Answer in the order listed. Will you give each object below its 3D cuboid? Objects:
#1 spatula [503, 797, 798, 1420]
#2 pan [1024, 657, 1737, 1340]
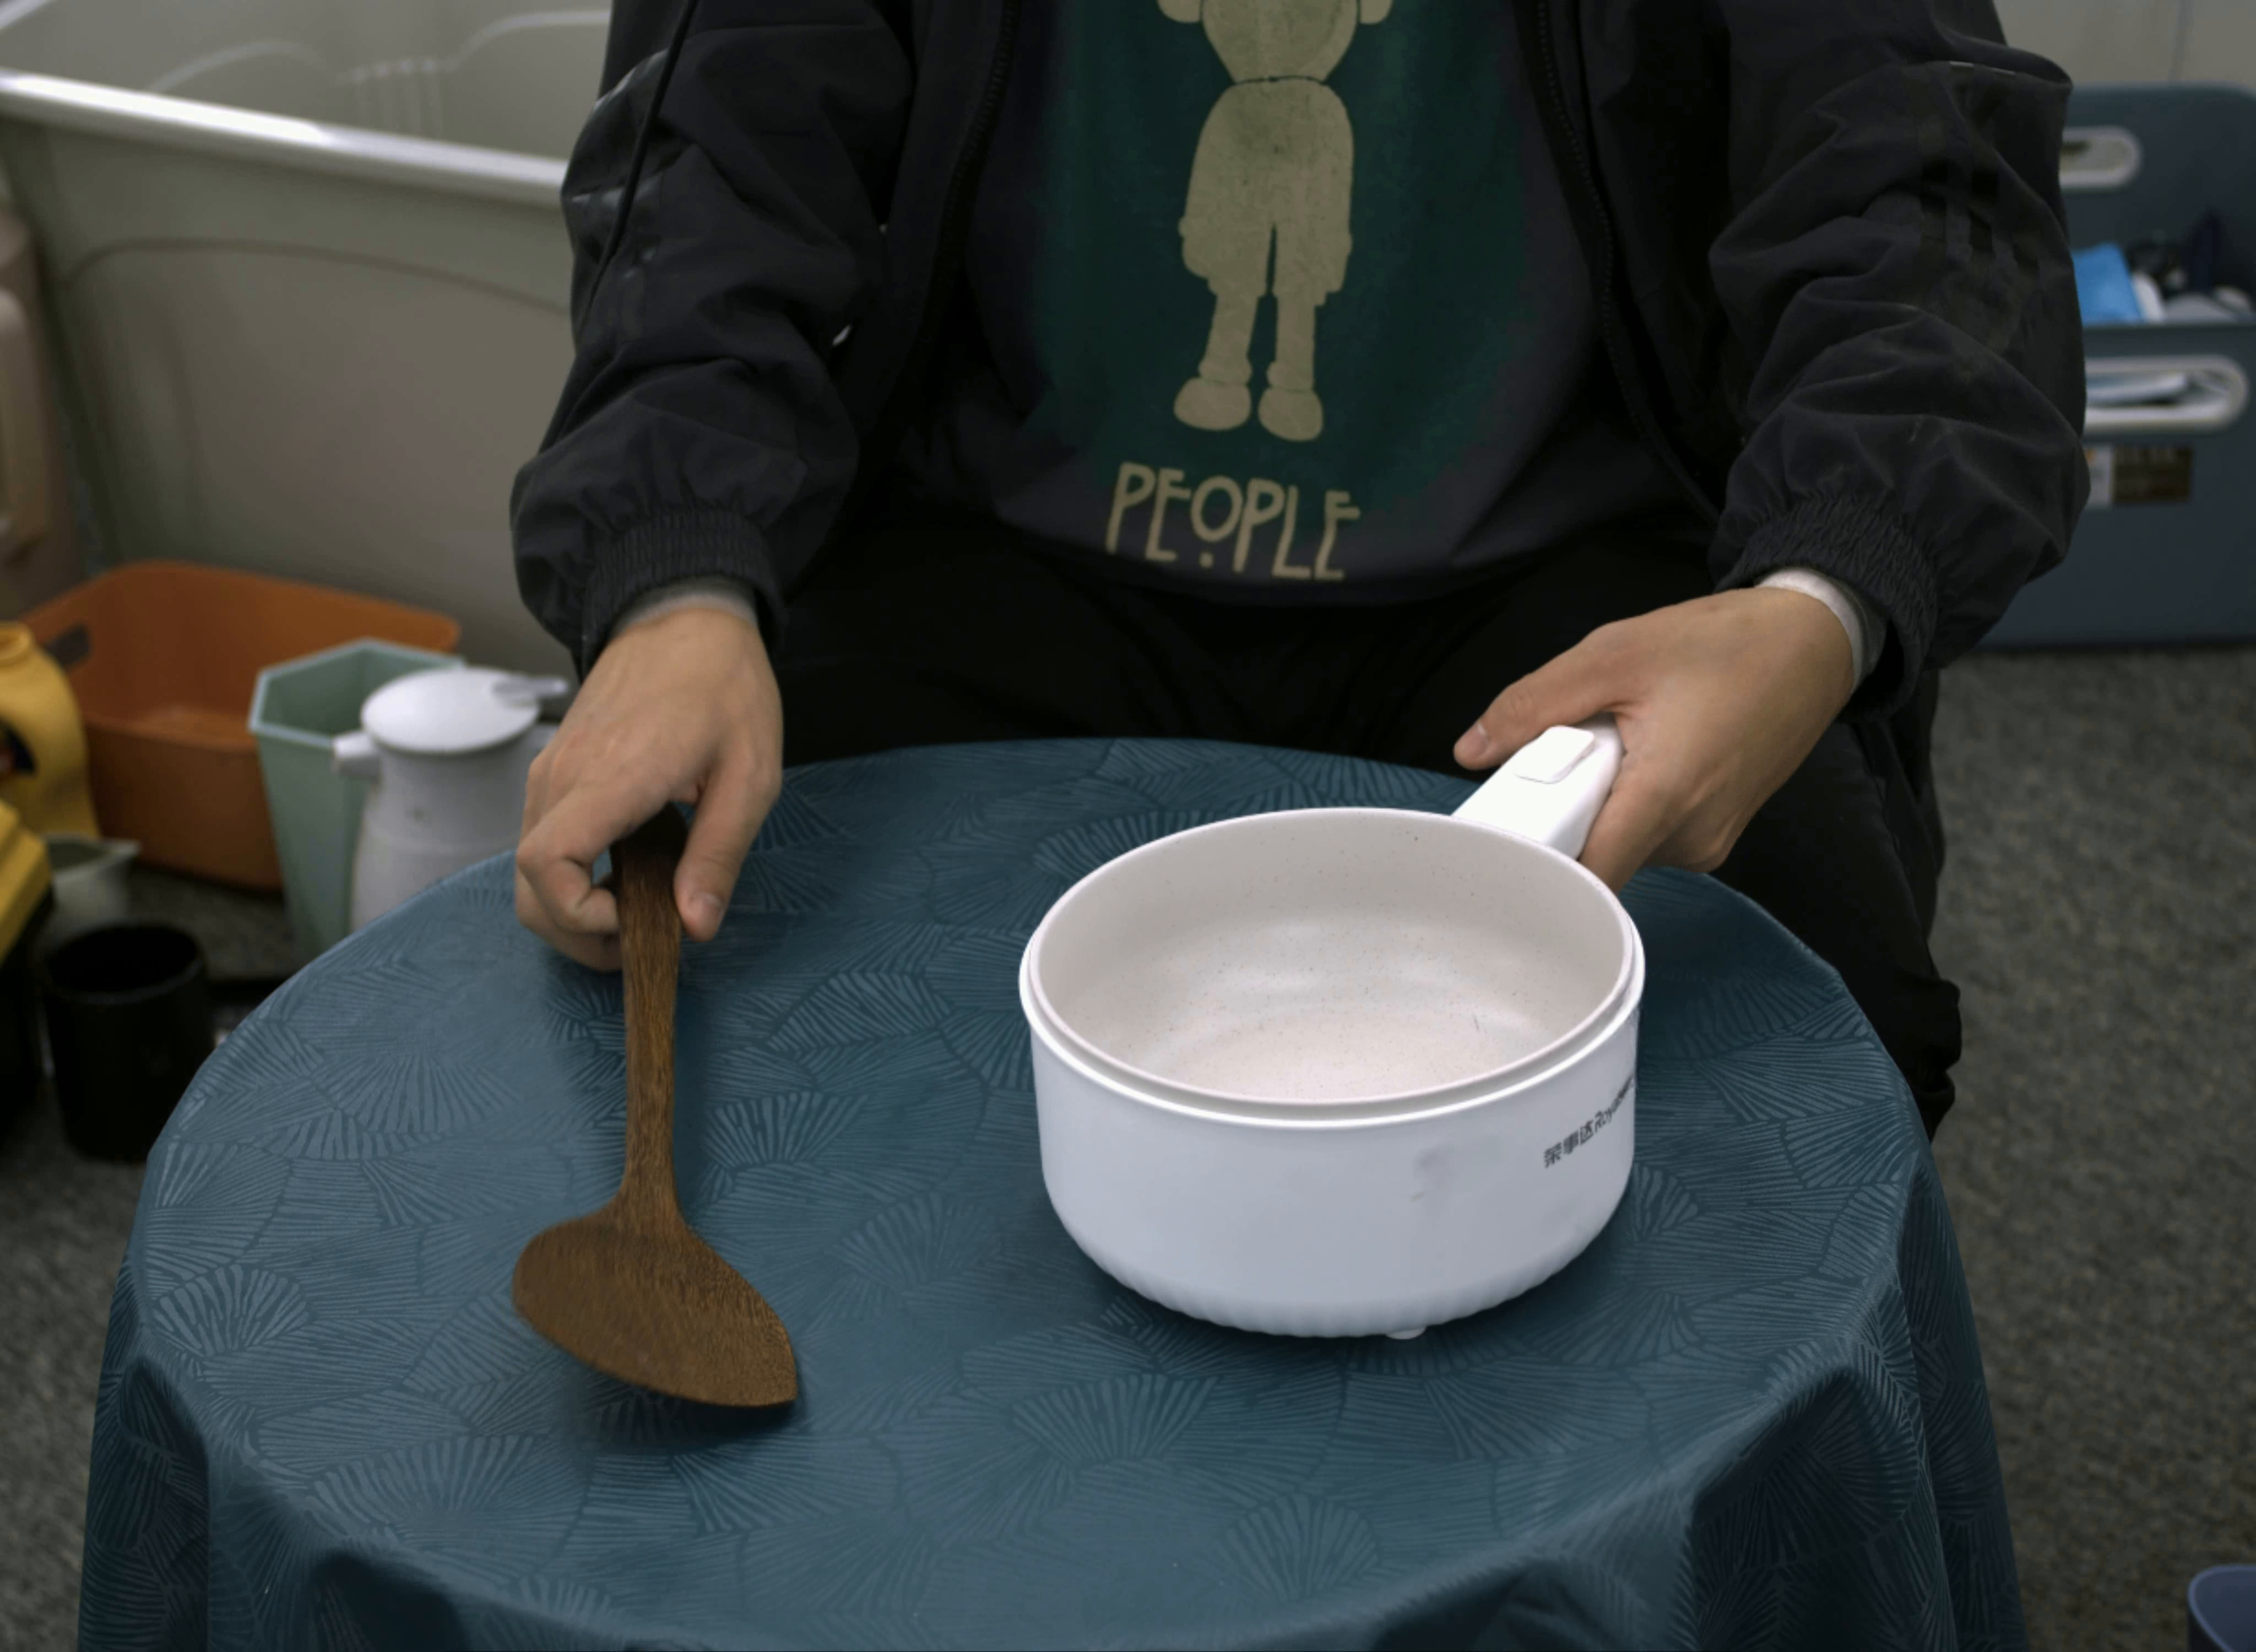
[{"bbox_3d":[-0.161,0.085,1.891,0.096,0.015,0.392,15,27,-13],"label":"spatula"},{"bbox_3d":[0.107,0.054,1.878,0.200,0.101,0.360,12,29,28],"label":"pan"}]
